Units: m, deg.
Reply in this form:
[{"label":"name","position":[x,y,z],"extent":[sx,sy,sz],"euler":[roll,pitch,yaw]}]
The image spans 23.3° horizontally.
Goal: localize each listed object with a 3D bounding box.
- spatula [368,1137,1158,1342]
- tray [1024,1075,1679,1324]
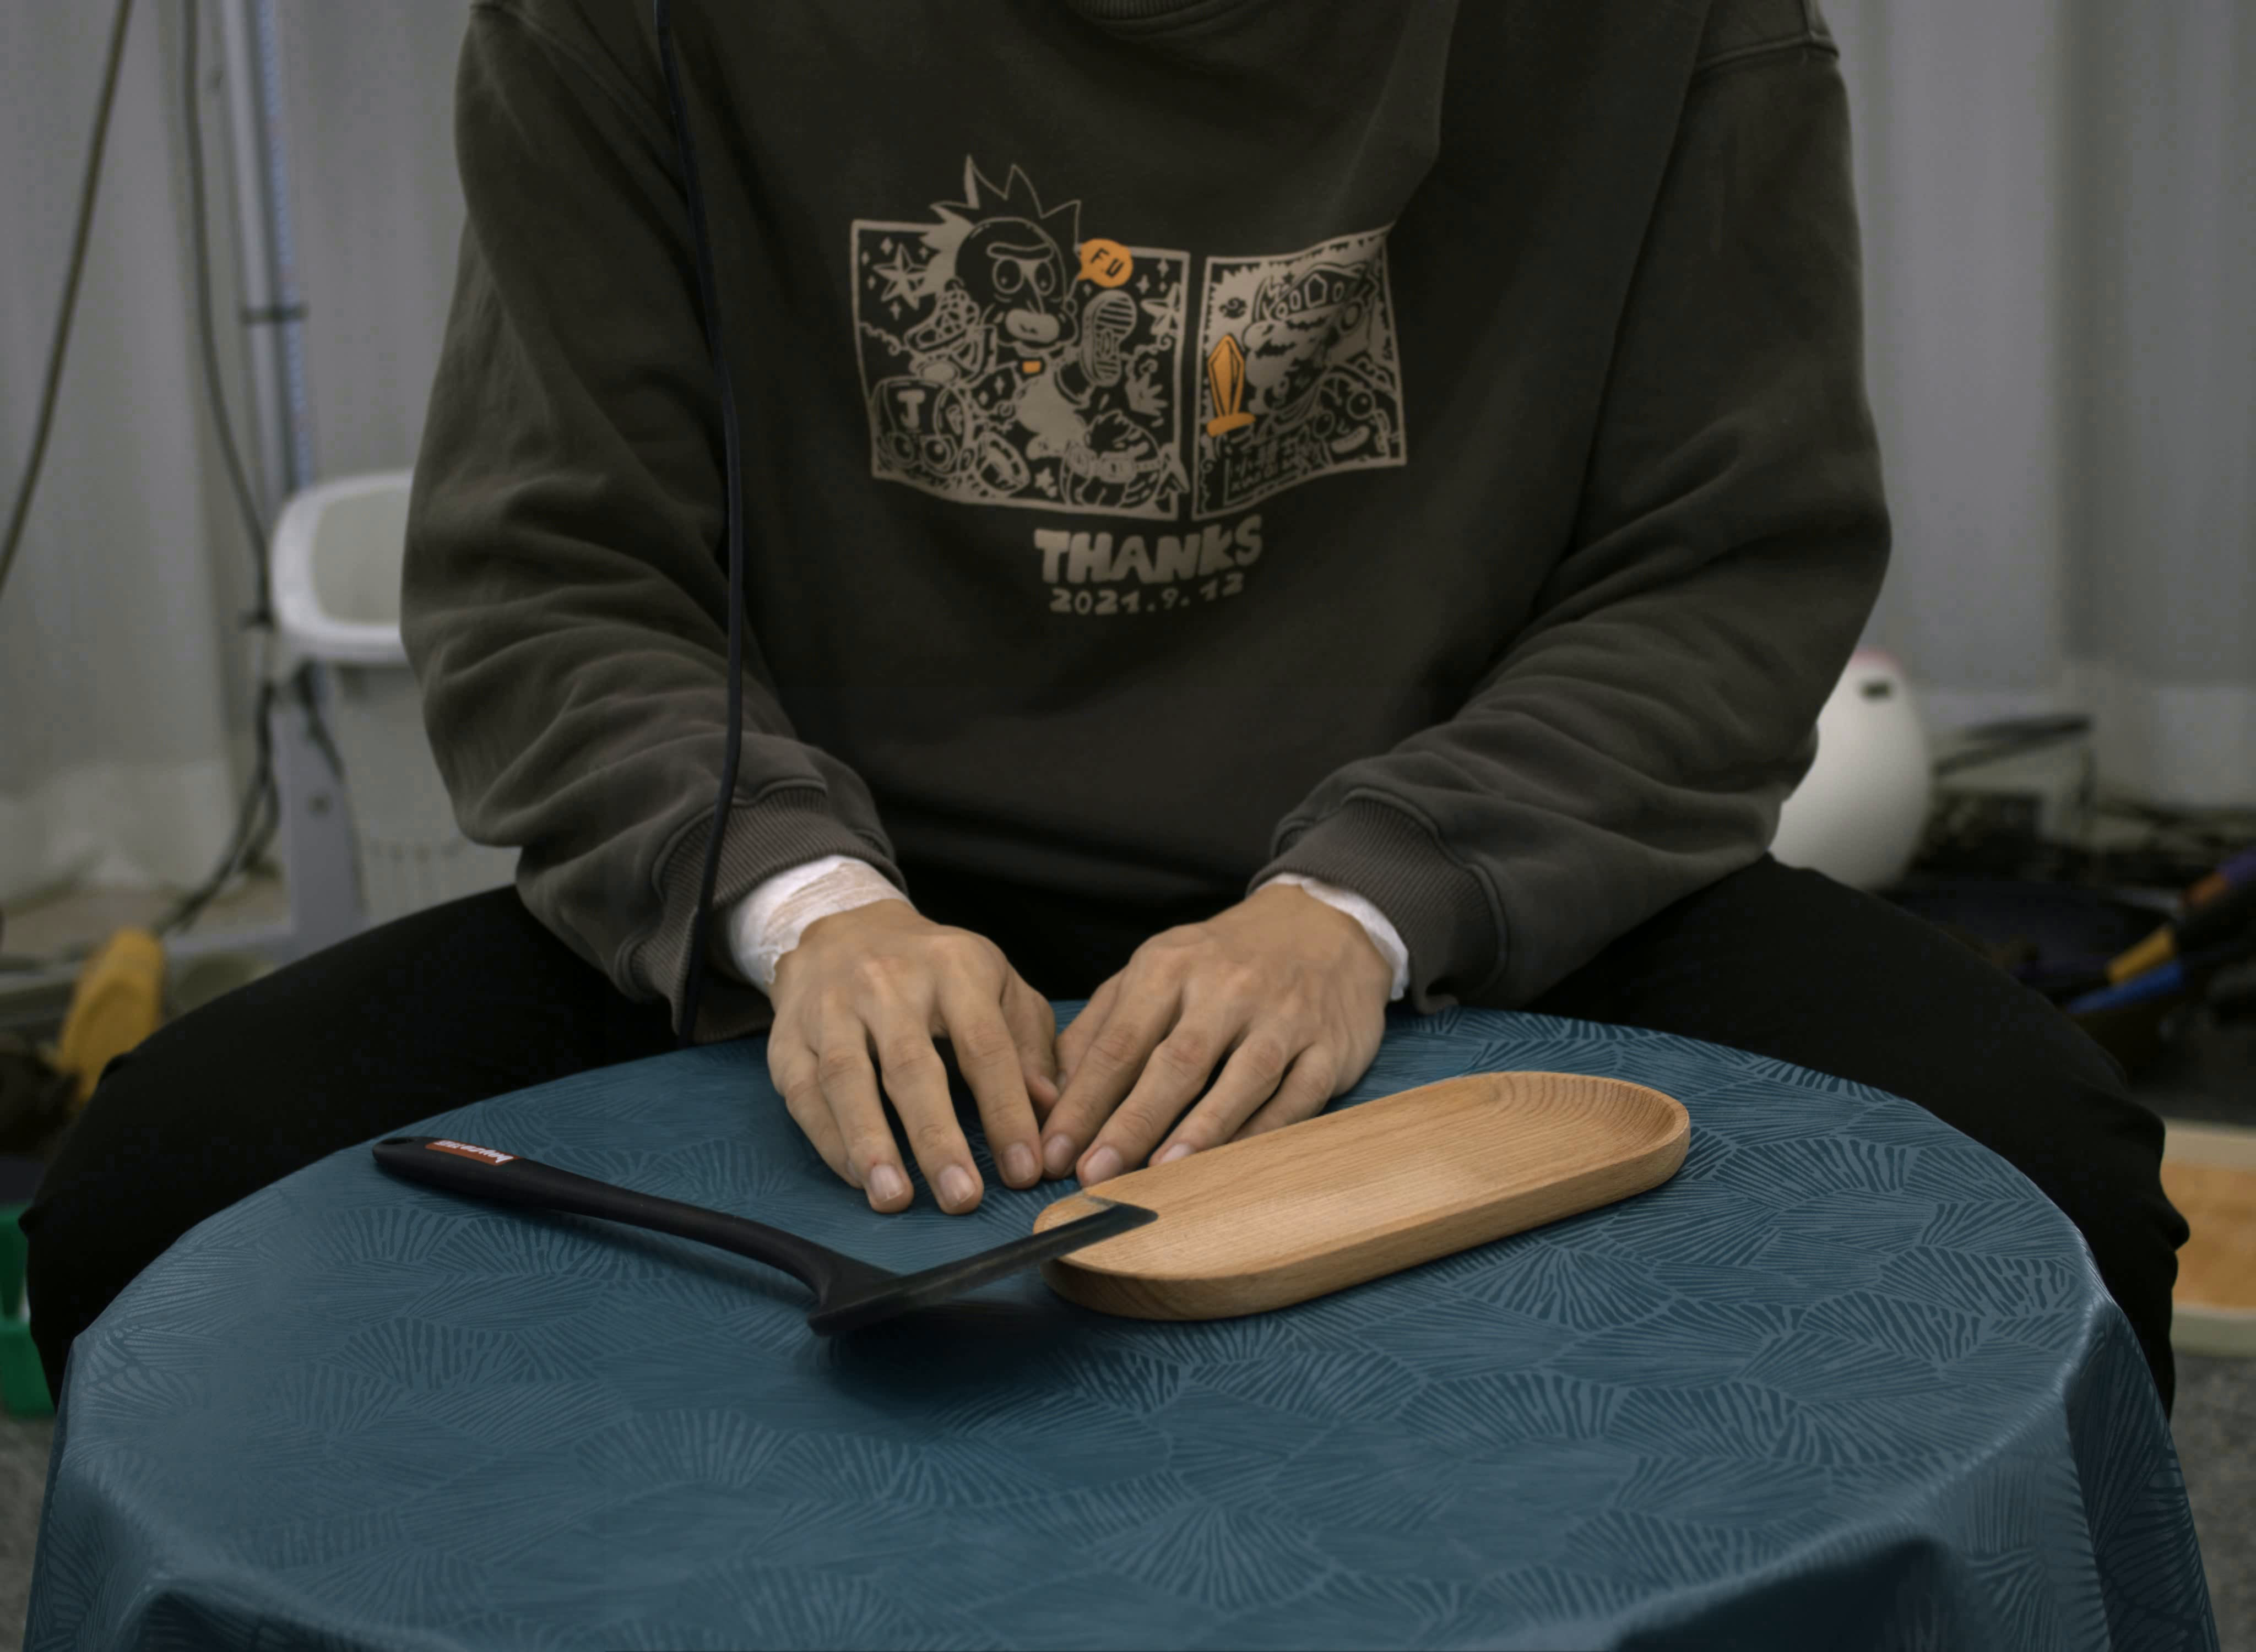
[{"label":"spatula","position":[-0.132,0.117,1.671],"extent":[0.099,0.040,0.328],"euler":[-15,19,-42]},{"label":"tray","position":[0.071,0.114,1.681],"extent":[0.230,0.020,0.102],"euler":[-15,19,-35]}]
